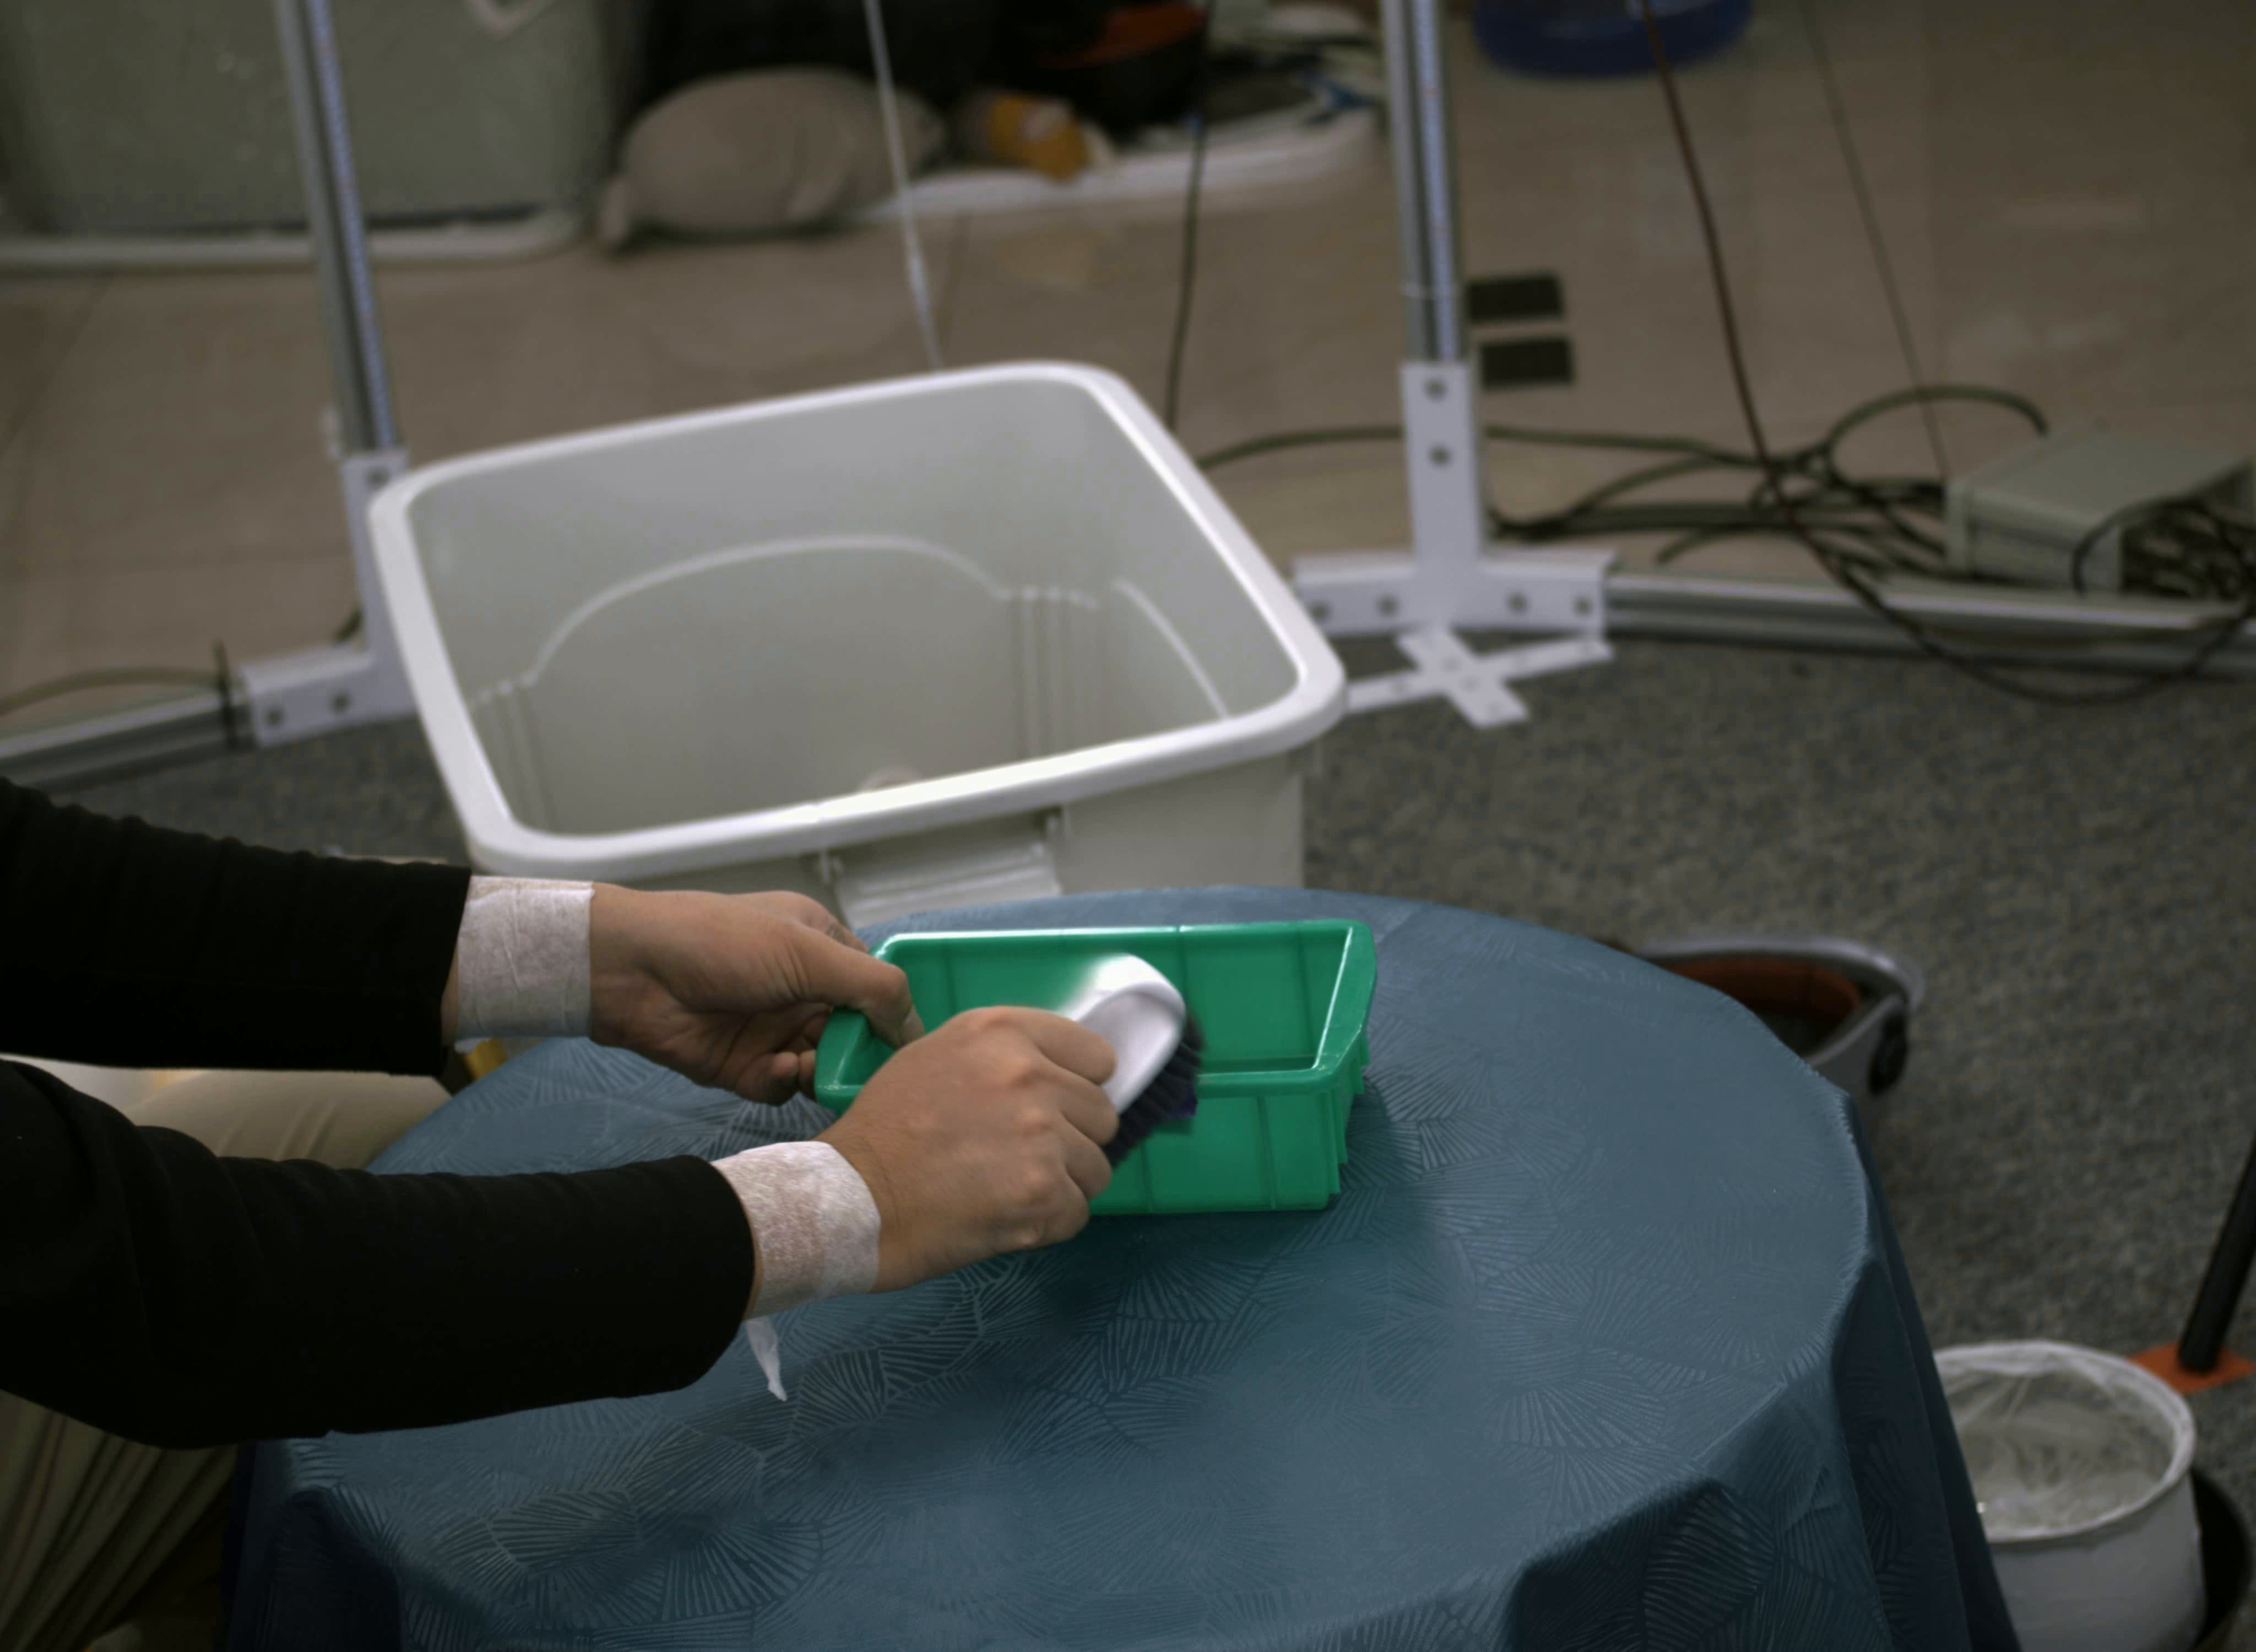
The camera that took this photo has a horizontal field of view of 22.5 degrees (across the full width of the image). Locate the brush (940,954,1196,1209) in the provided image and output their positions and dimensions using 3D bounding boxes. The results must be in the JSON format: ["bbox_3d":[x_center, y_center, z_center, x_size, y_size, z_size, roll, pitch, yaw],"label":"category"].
[{"bbox_3d":[-0.026,0.087,2.060,0.099,0.073,0.049,-42,62,-5],"label":"brush"}]

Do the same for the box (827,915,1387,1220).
[{"bbox_3d":[-0.005,0.094,2.171,0.210,0.066,0.136,-2,27,8],"label":"box"}]
